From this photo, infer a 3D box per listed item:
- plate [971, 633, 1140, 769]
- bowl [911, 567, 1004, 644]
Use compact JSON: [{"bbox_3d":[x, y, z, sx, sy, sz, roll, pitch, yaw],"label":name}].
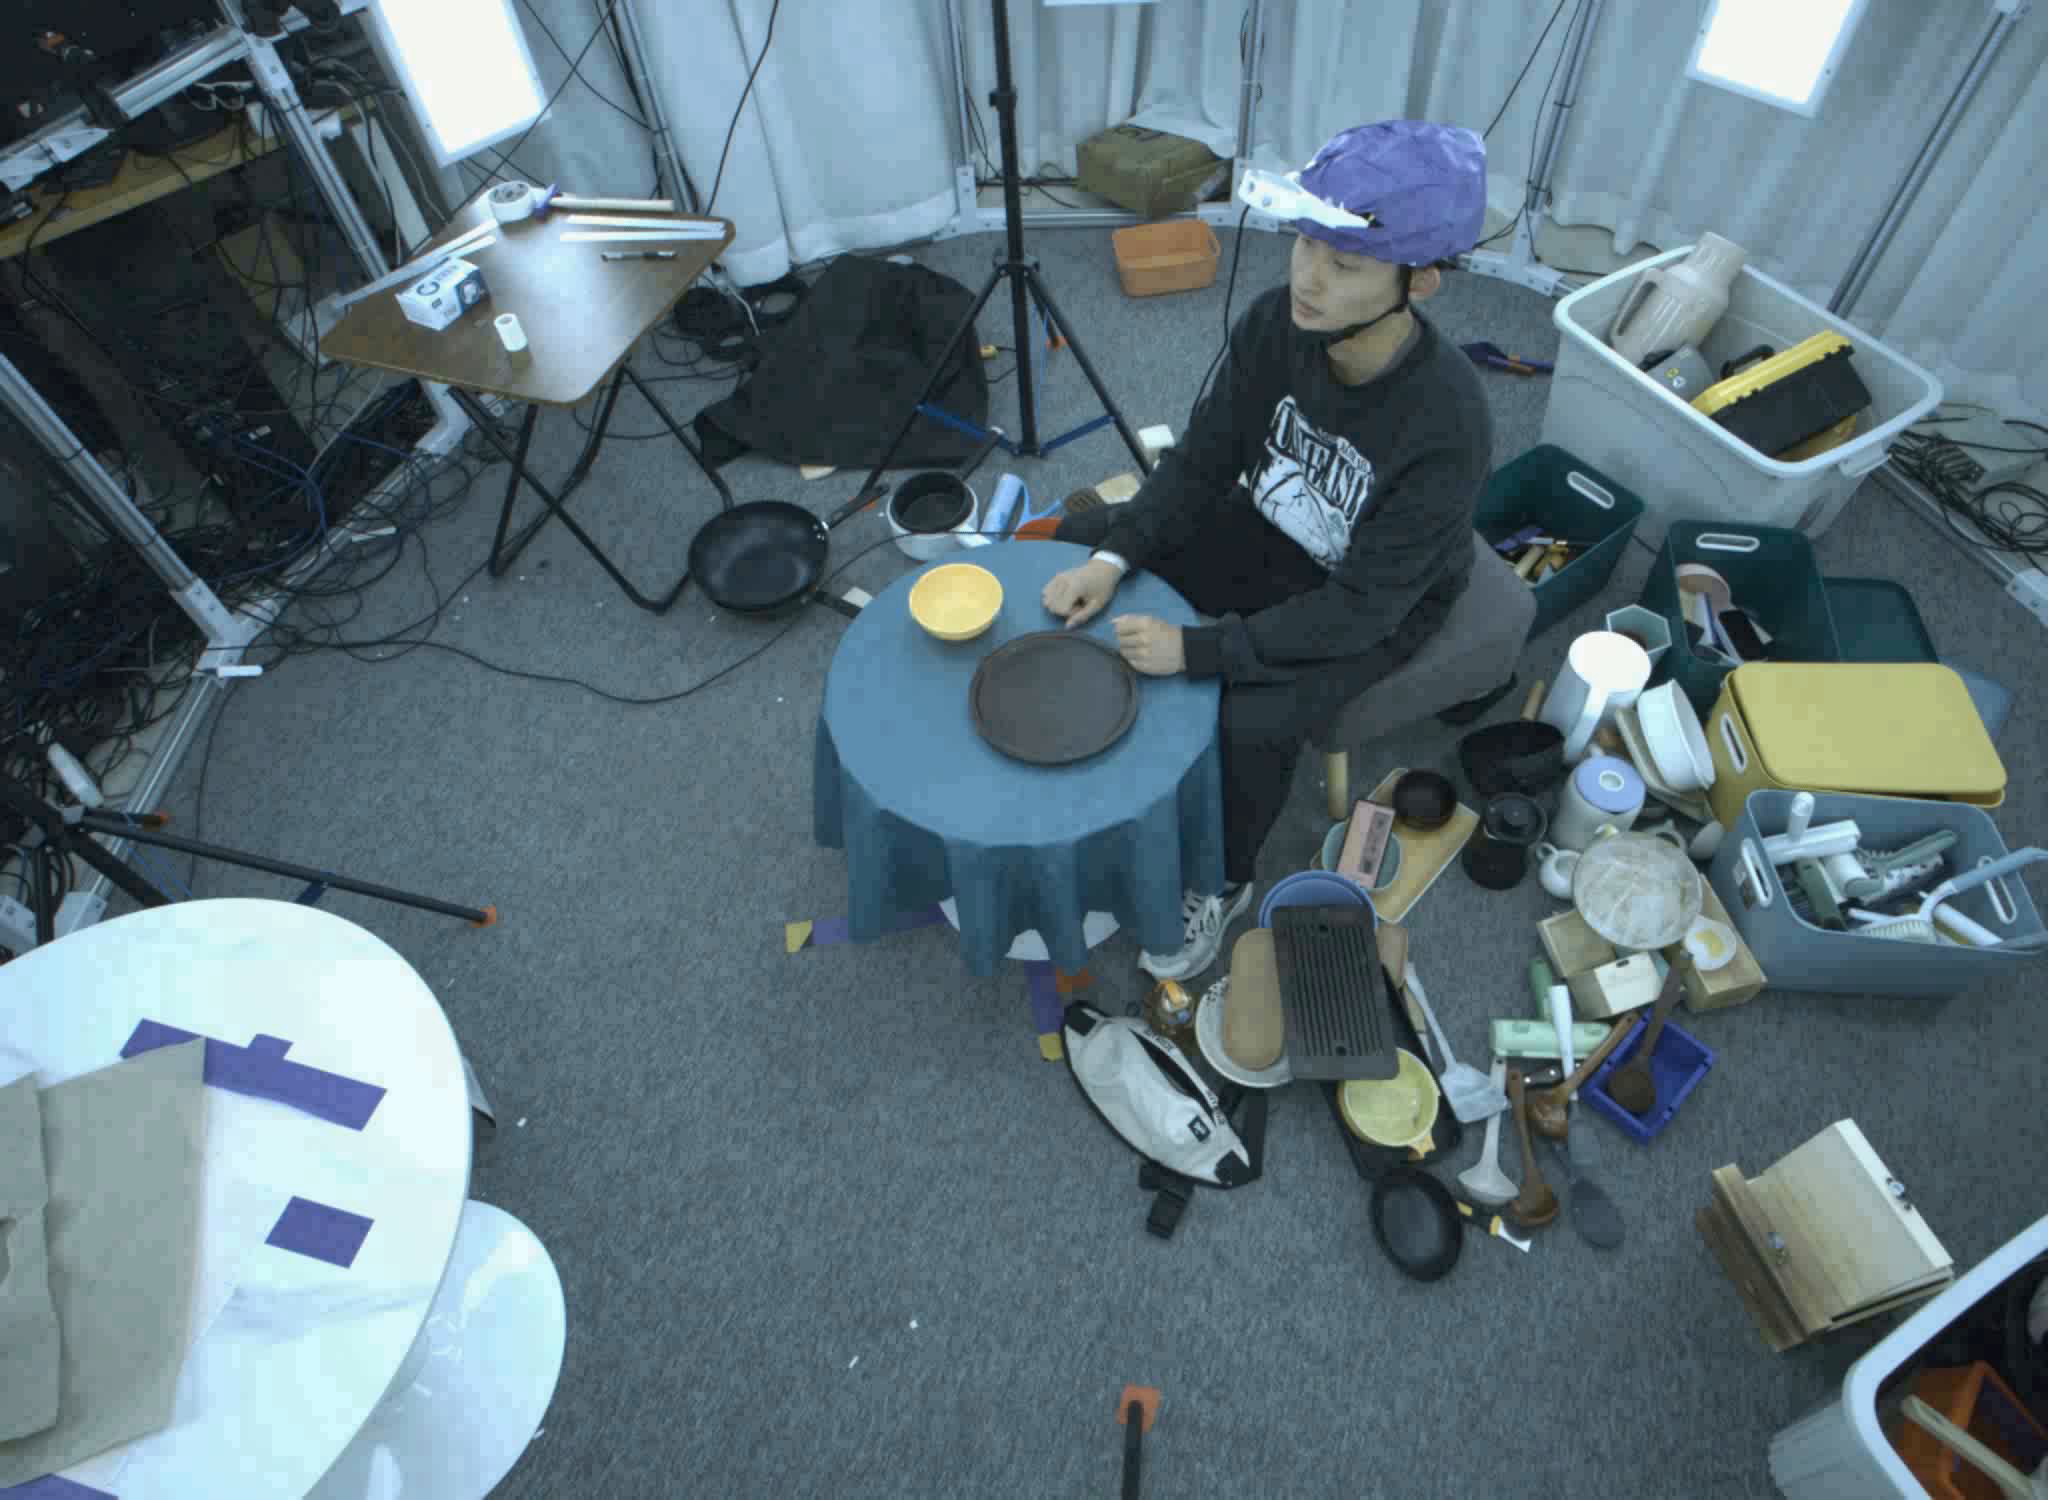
[{"bbox_3d":[0.047,-0.074,1.835,0.254,0.029,0.252,0,53,2],"label":"plate"},{"bbox_3d":[-0.104,-0.214,1.918,0.145,0.060,0.144,1,55,-1],"label":"bowl"}]
